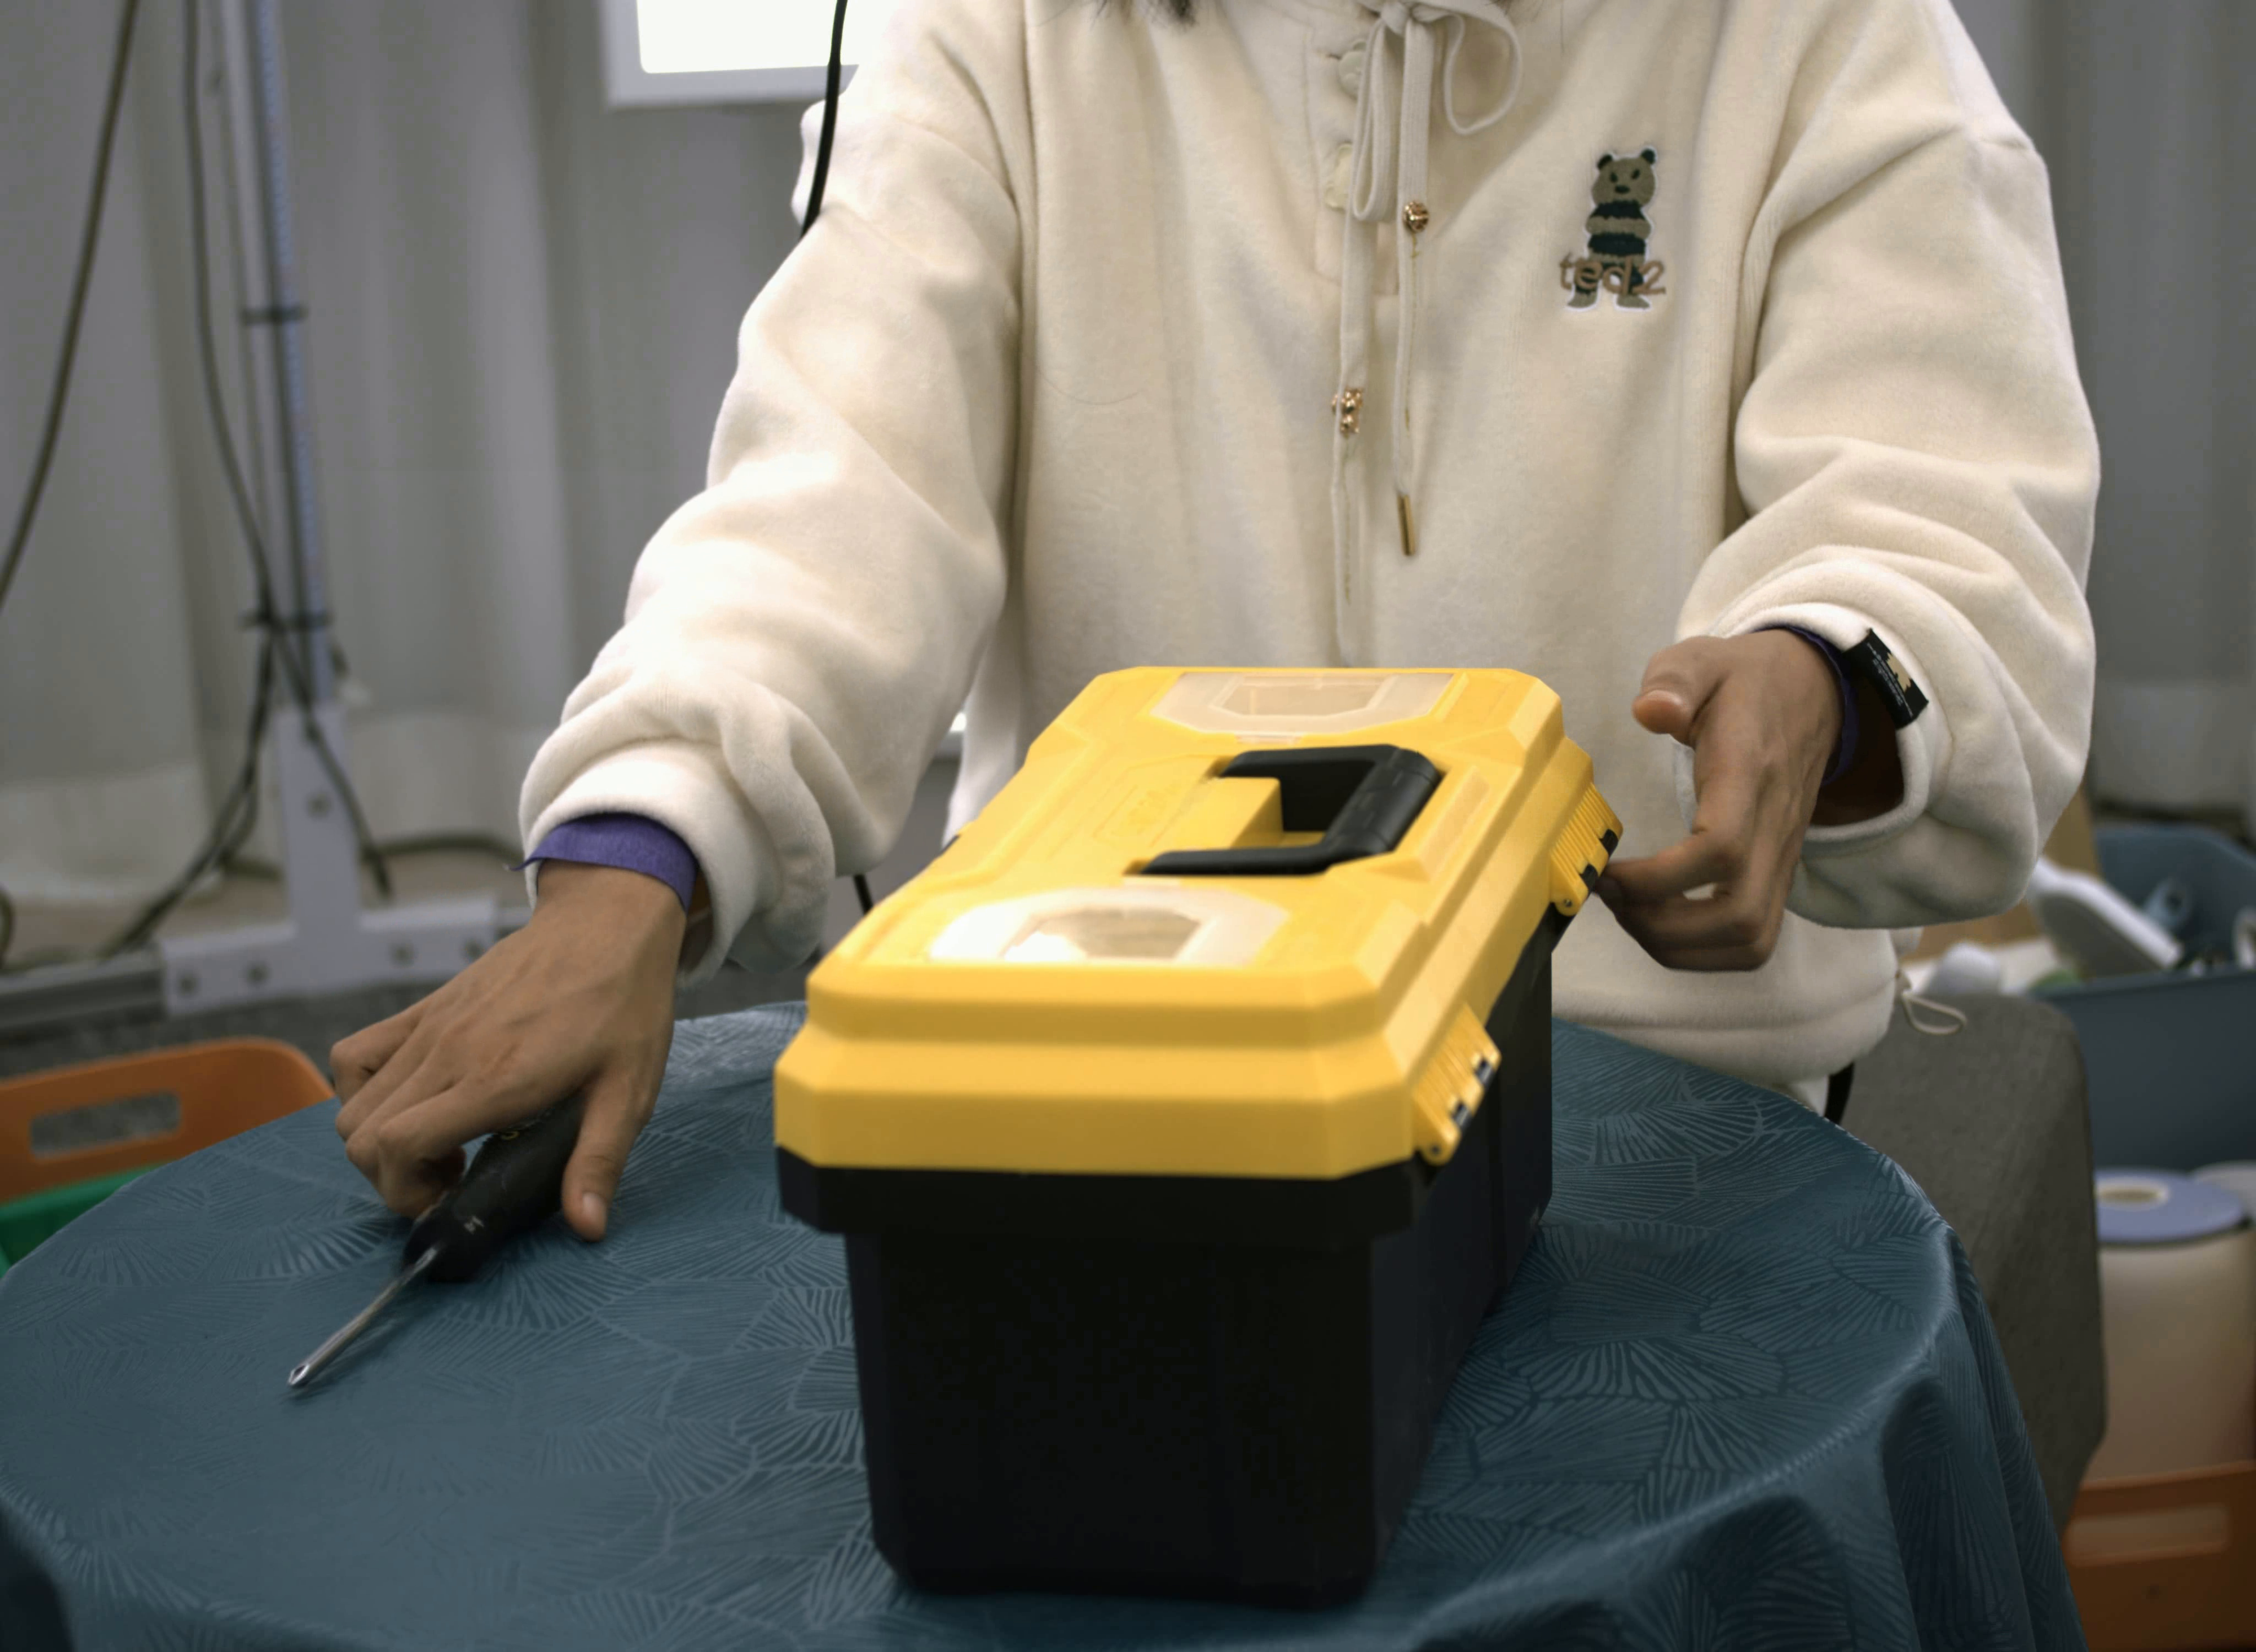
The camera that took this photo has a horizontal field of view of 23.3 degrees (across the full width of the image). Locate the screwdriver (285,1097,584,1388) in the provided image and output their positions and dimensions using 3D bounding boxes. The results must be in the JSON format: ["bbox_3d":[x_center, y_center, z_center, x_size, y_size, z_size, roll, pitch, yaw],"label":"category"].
[{"bbox_3d":[-0.212,0.125,1.656,0.031,0.031,0.197,2,17,19],"label":"screwdriver"}]

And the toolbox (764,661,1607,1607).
[{"bbox_3d":[0.028,0.075,1.521,0.181,0.172,0.353,1,15,14],"label":"toolbox"}]
